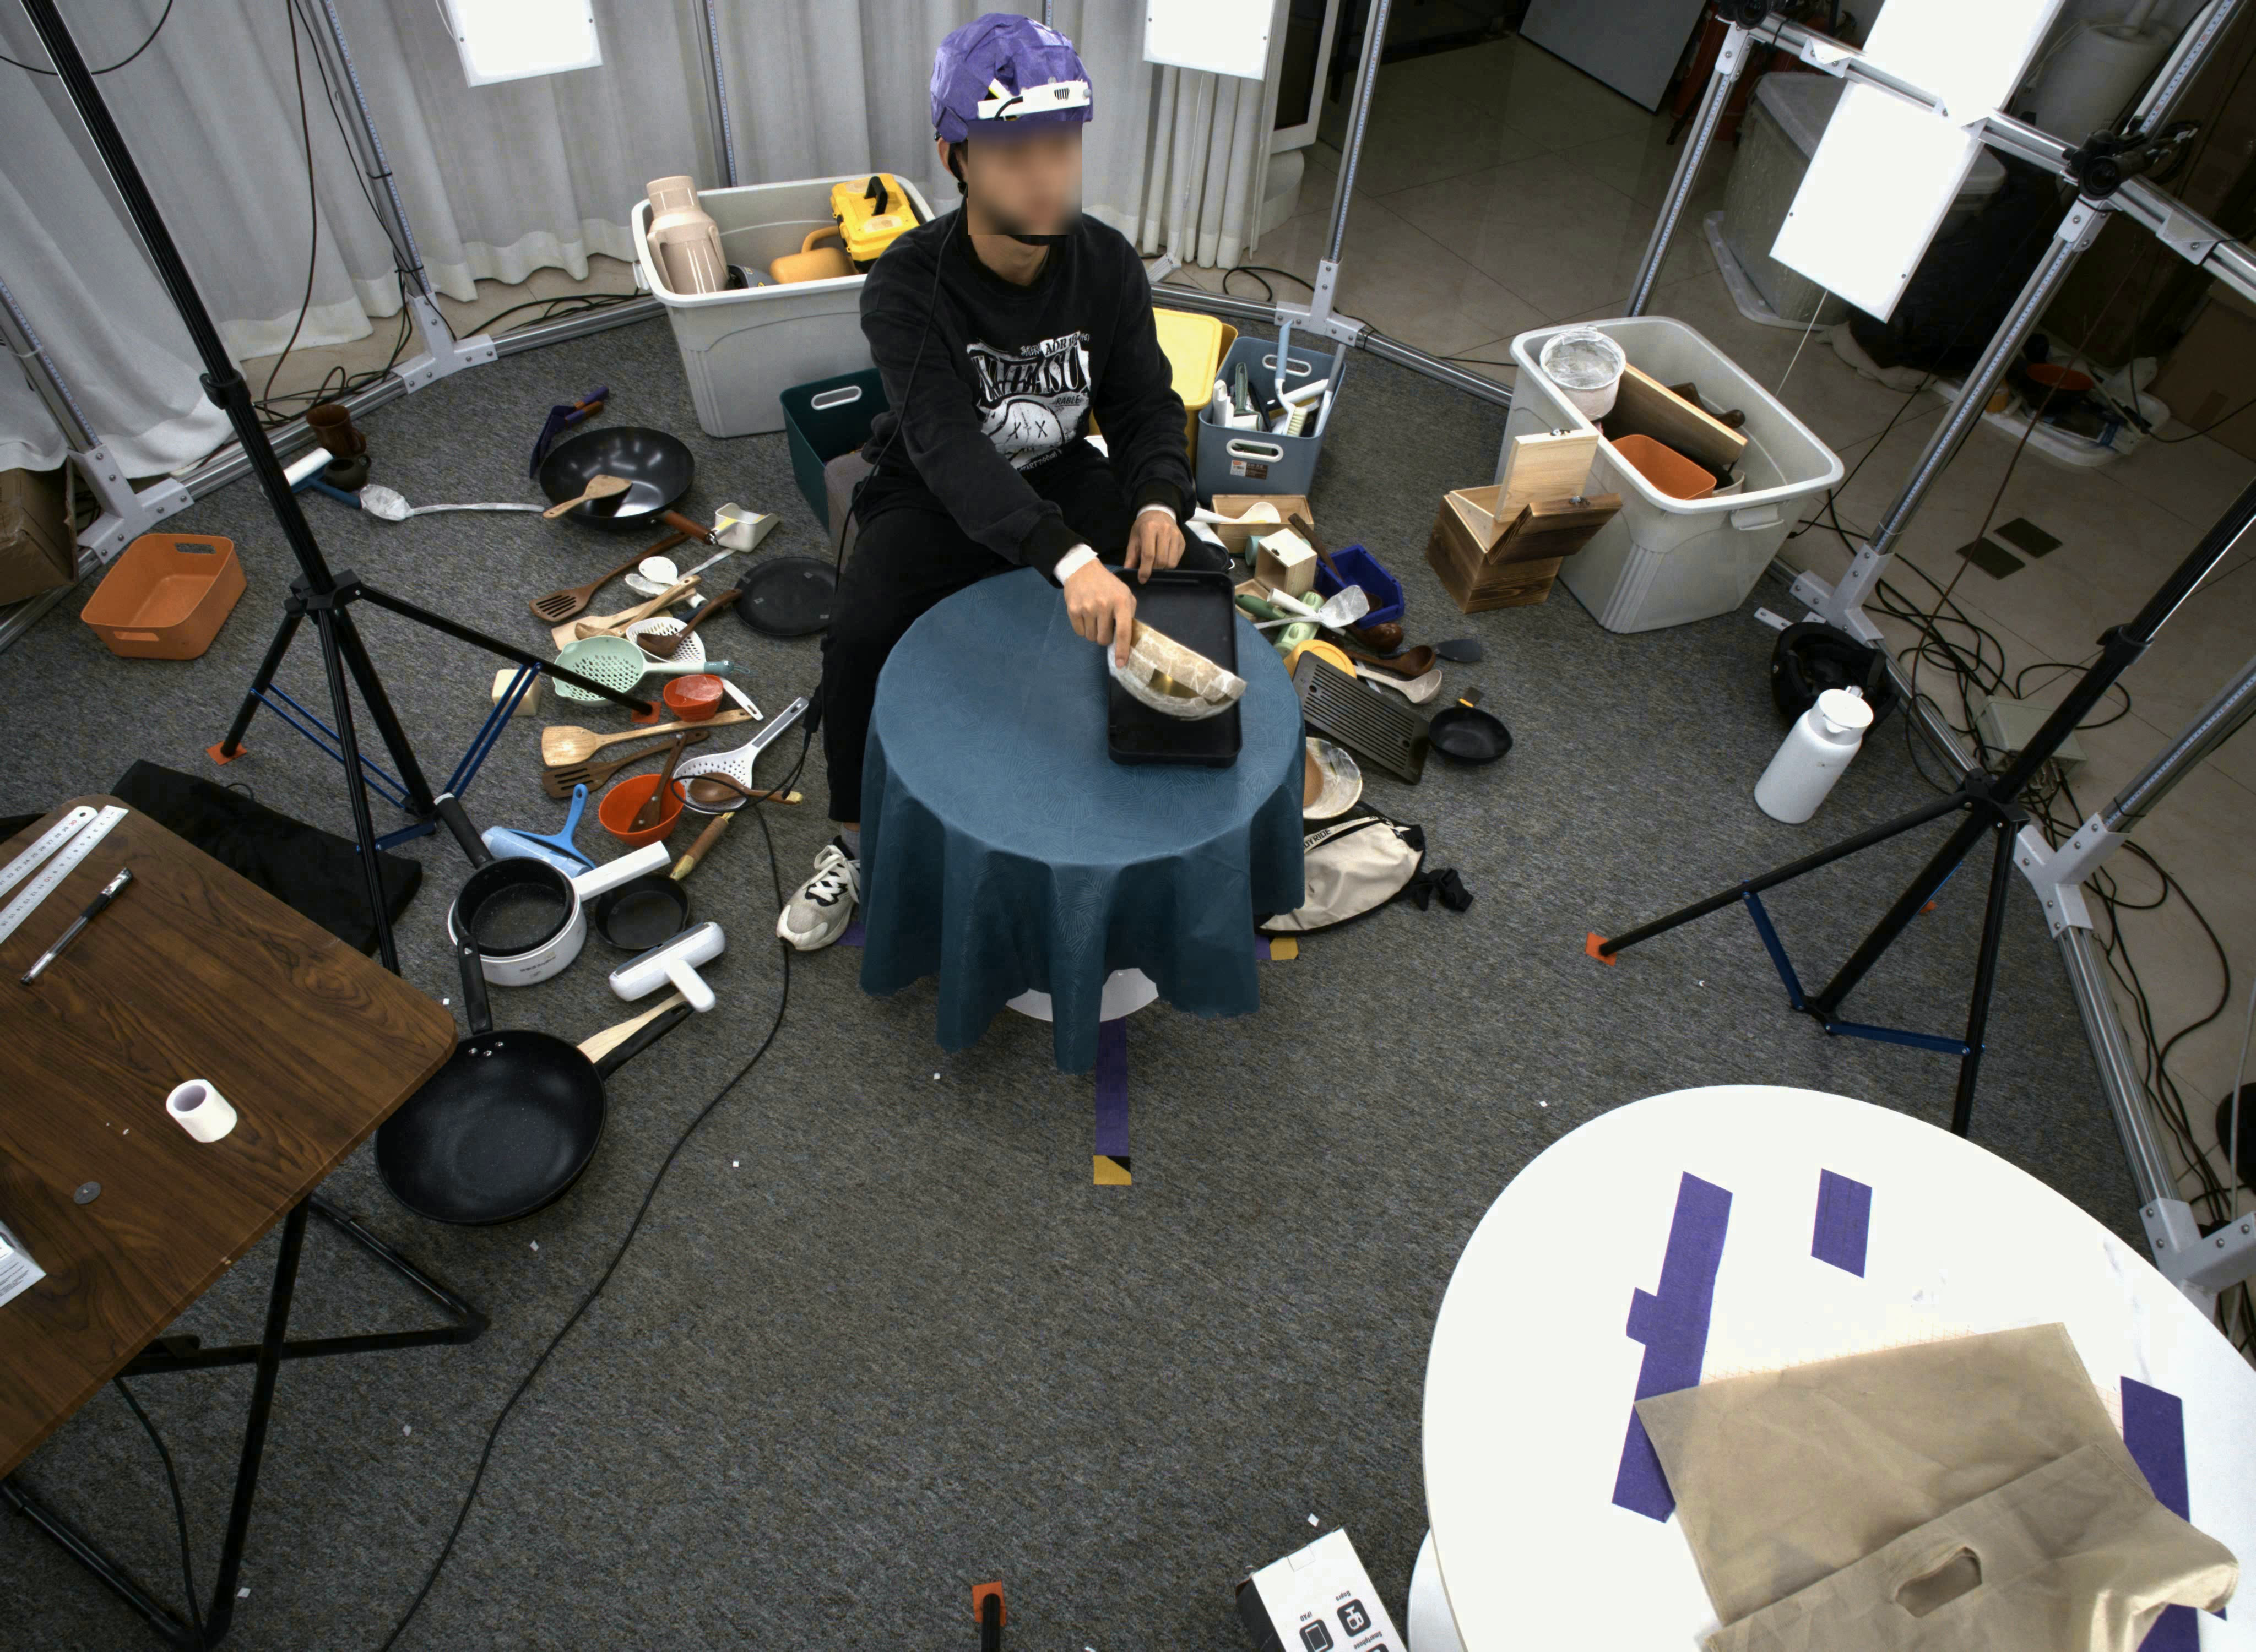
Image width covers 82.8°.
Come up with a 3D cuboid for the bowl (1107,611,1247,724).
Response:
[{"bbox_3d":[0.050,-0.197,1.724,0.217,0.213,0.094,32,96,21],"label":"bowl"}]

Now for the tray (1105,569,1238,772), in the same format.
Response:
[{"bbox_3d":[0.063,-0.225,1.826,0.184,0.036,0.325,4,60,-2],"label":"tray"}]
